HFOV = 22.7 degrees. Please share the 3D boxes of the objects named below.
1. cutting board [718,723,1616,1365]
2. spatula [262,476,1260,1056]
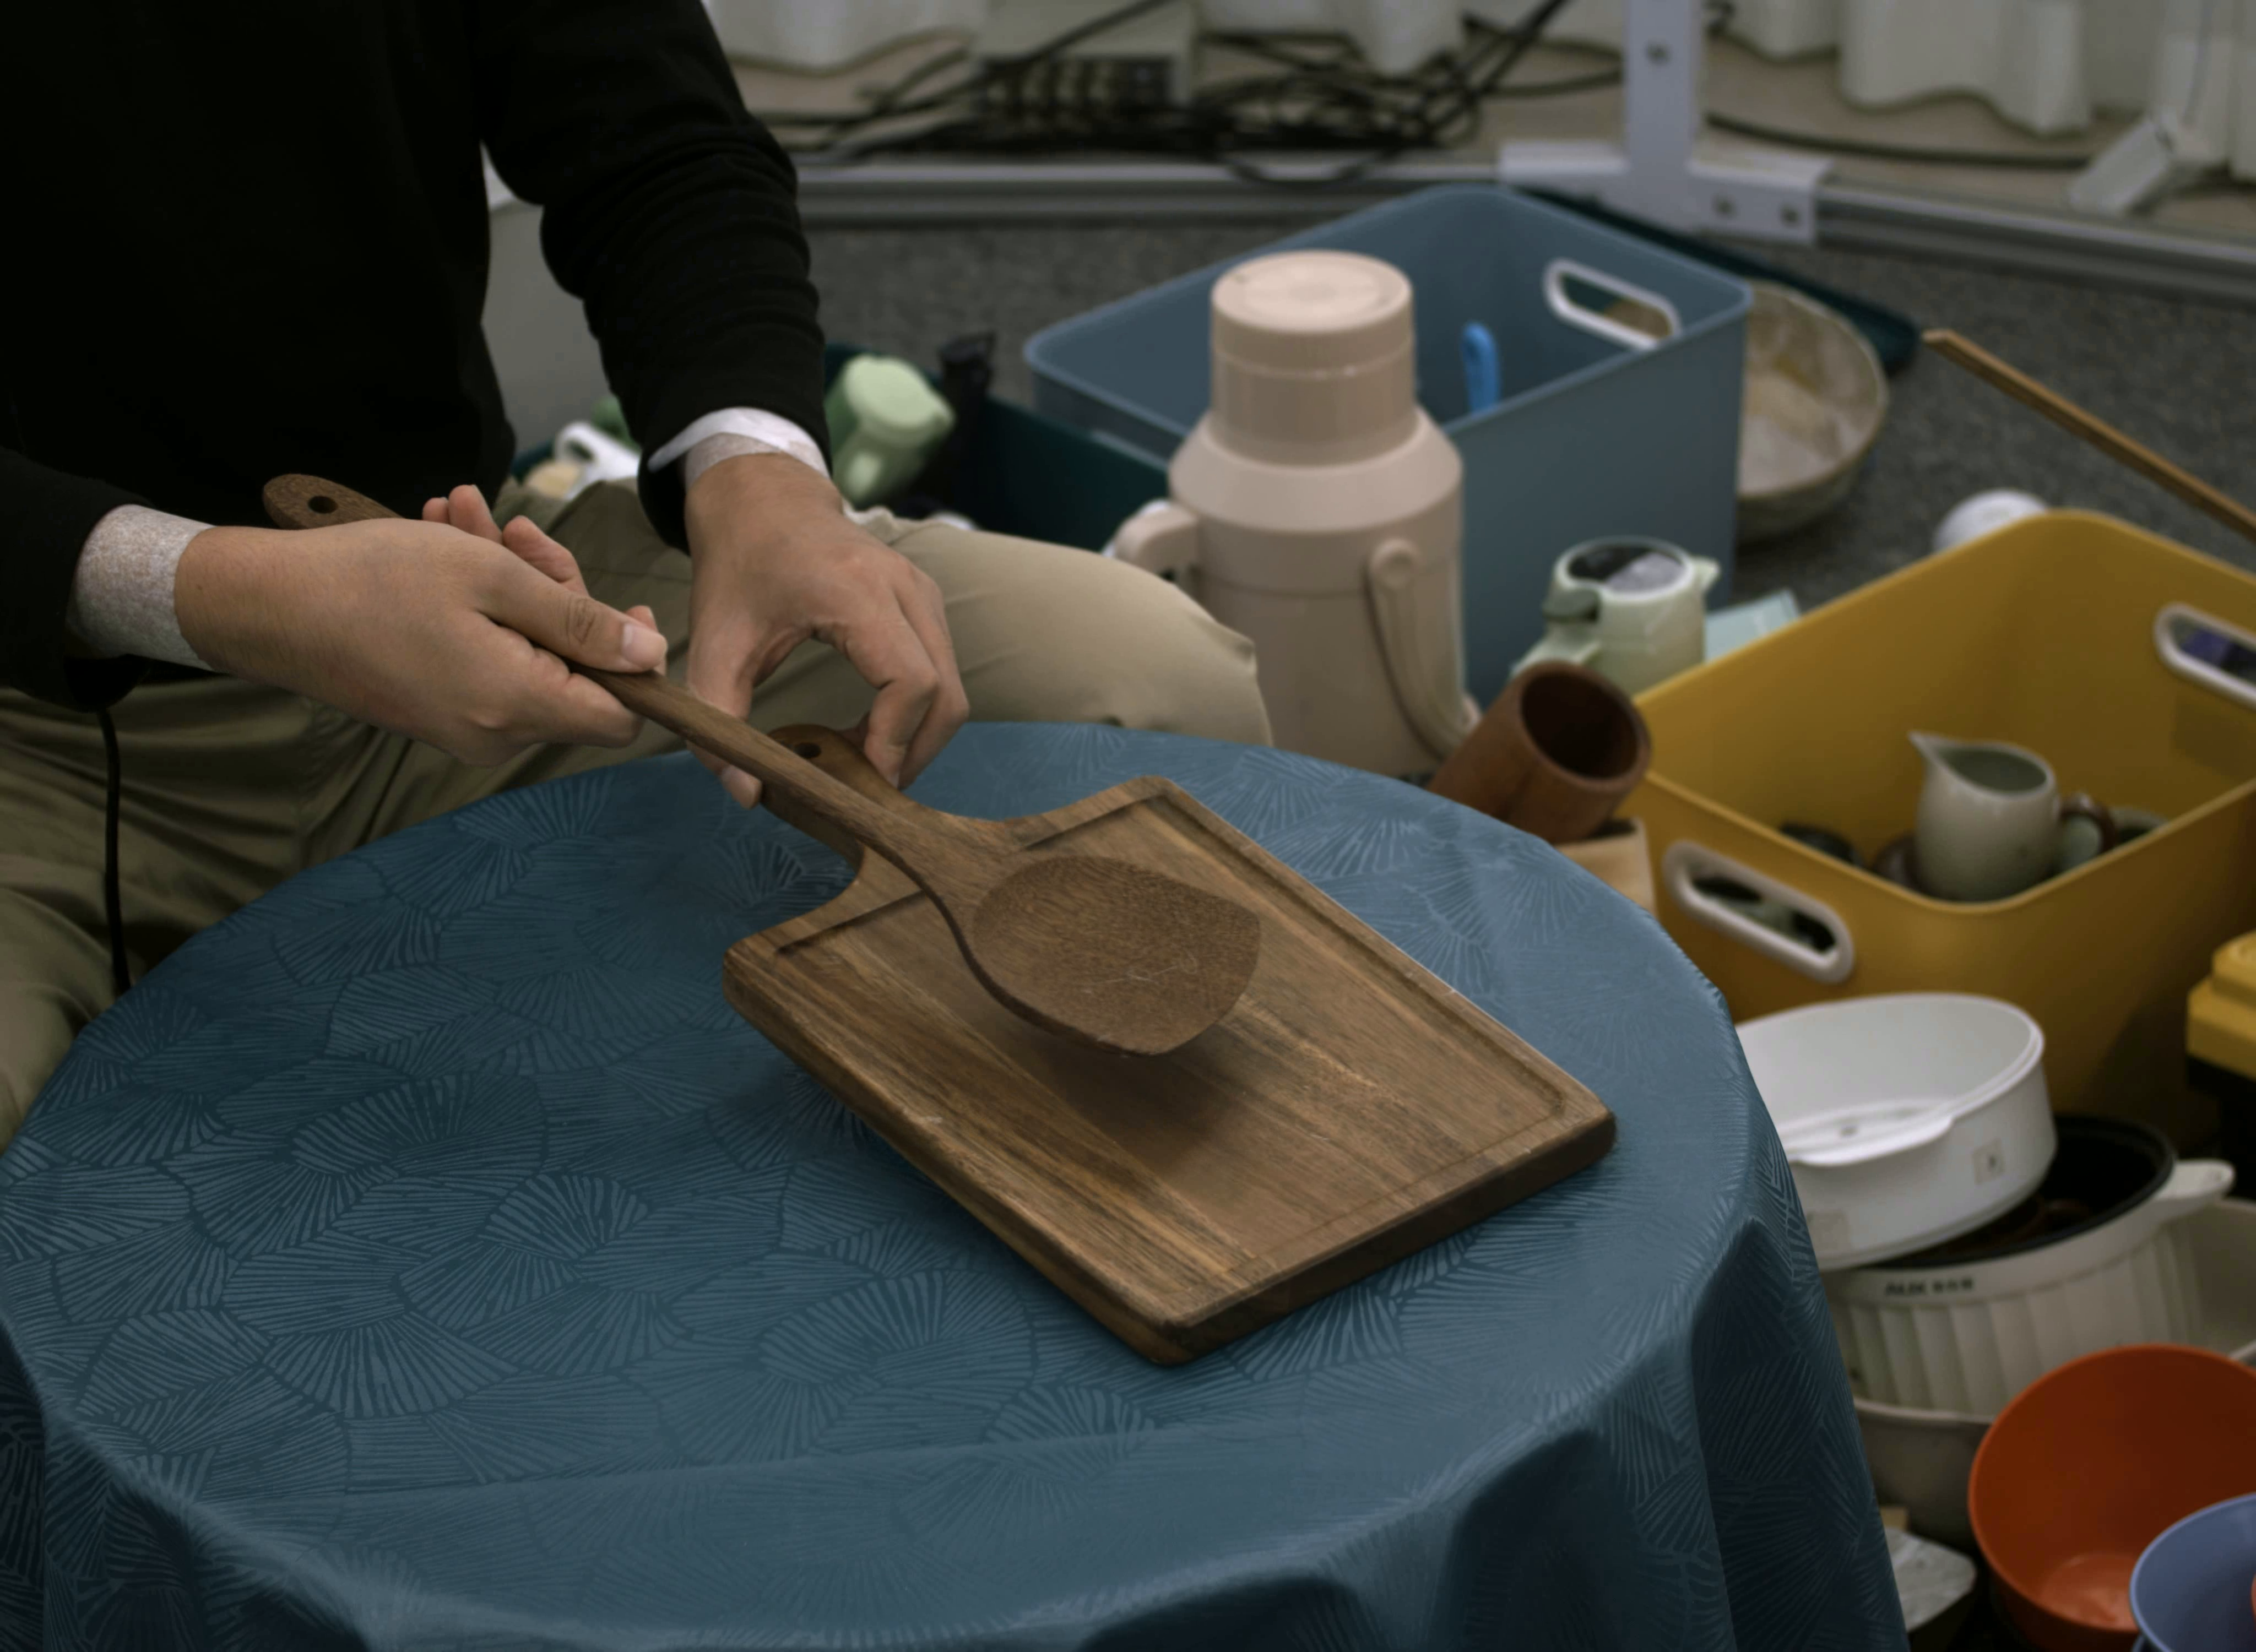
[{"bbox_3d":[-0.019,0.052,1.921,0.203,0.023,0.353,-22,41,-33],"label":"cutting board"},{"bbox_3d":[-0.131,-0.028,1.897,0.385,0.015,0.098,29,39,12],"label":"spatula"}]
